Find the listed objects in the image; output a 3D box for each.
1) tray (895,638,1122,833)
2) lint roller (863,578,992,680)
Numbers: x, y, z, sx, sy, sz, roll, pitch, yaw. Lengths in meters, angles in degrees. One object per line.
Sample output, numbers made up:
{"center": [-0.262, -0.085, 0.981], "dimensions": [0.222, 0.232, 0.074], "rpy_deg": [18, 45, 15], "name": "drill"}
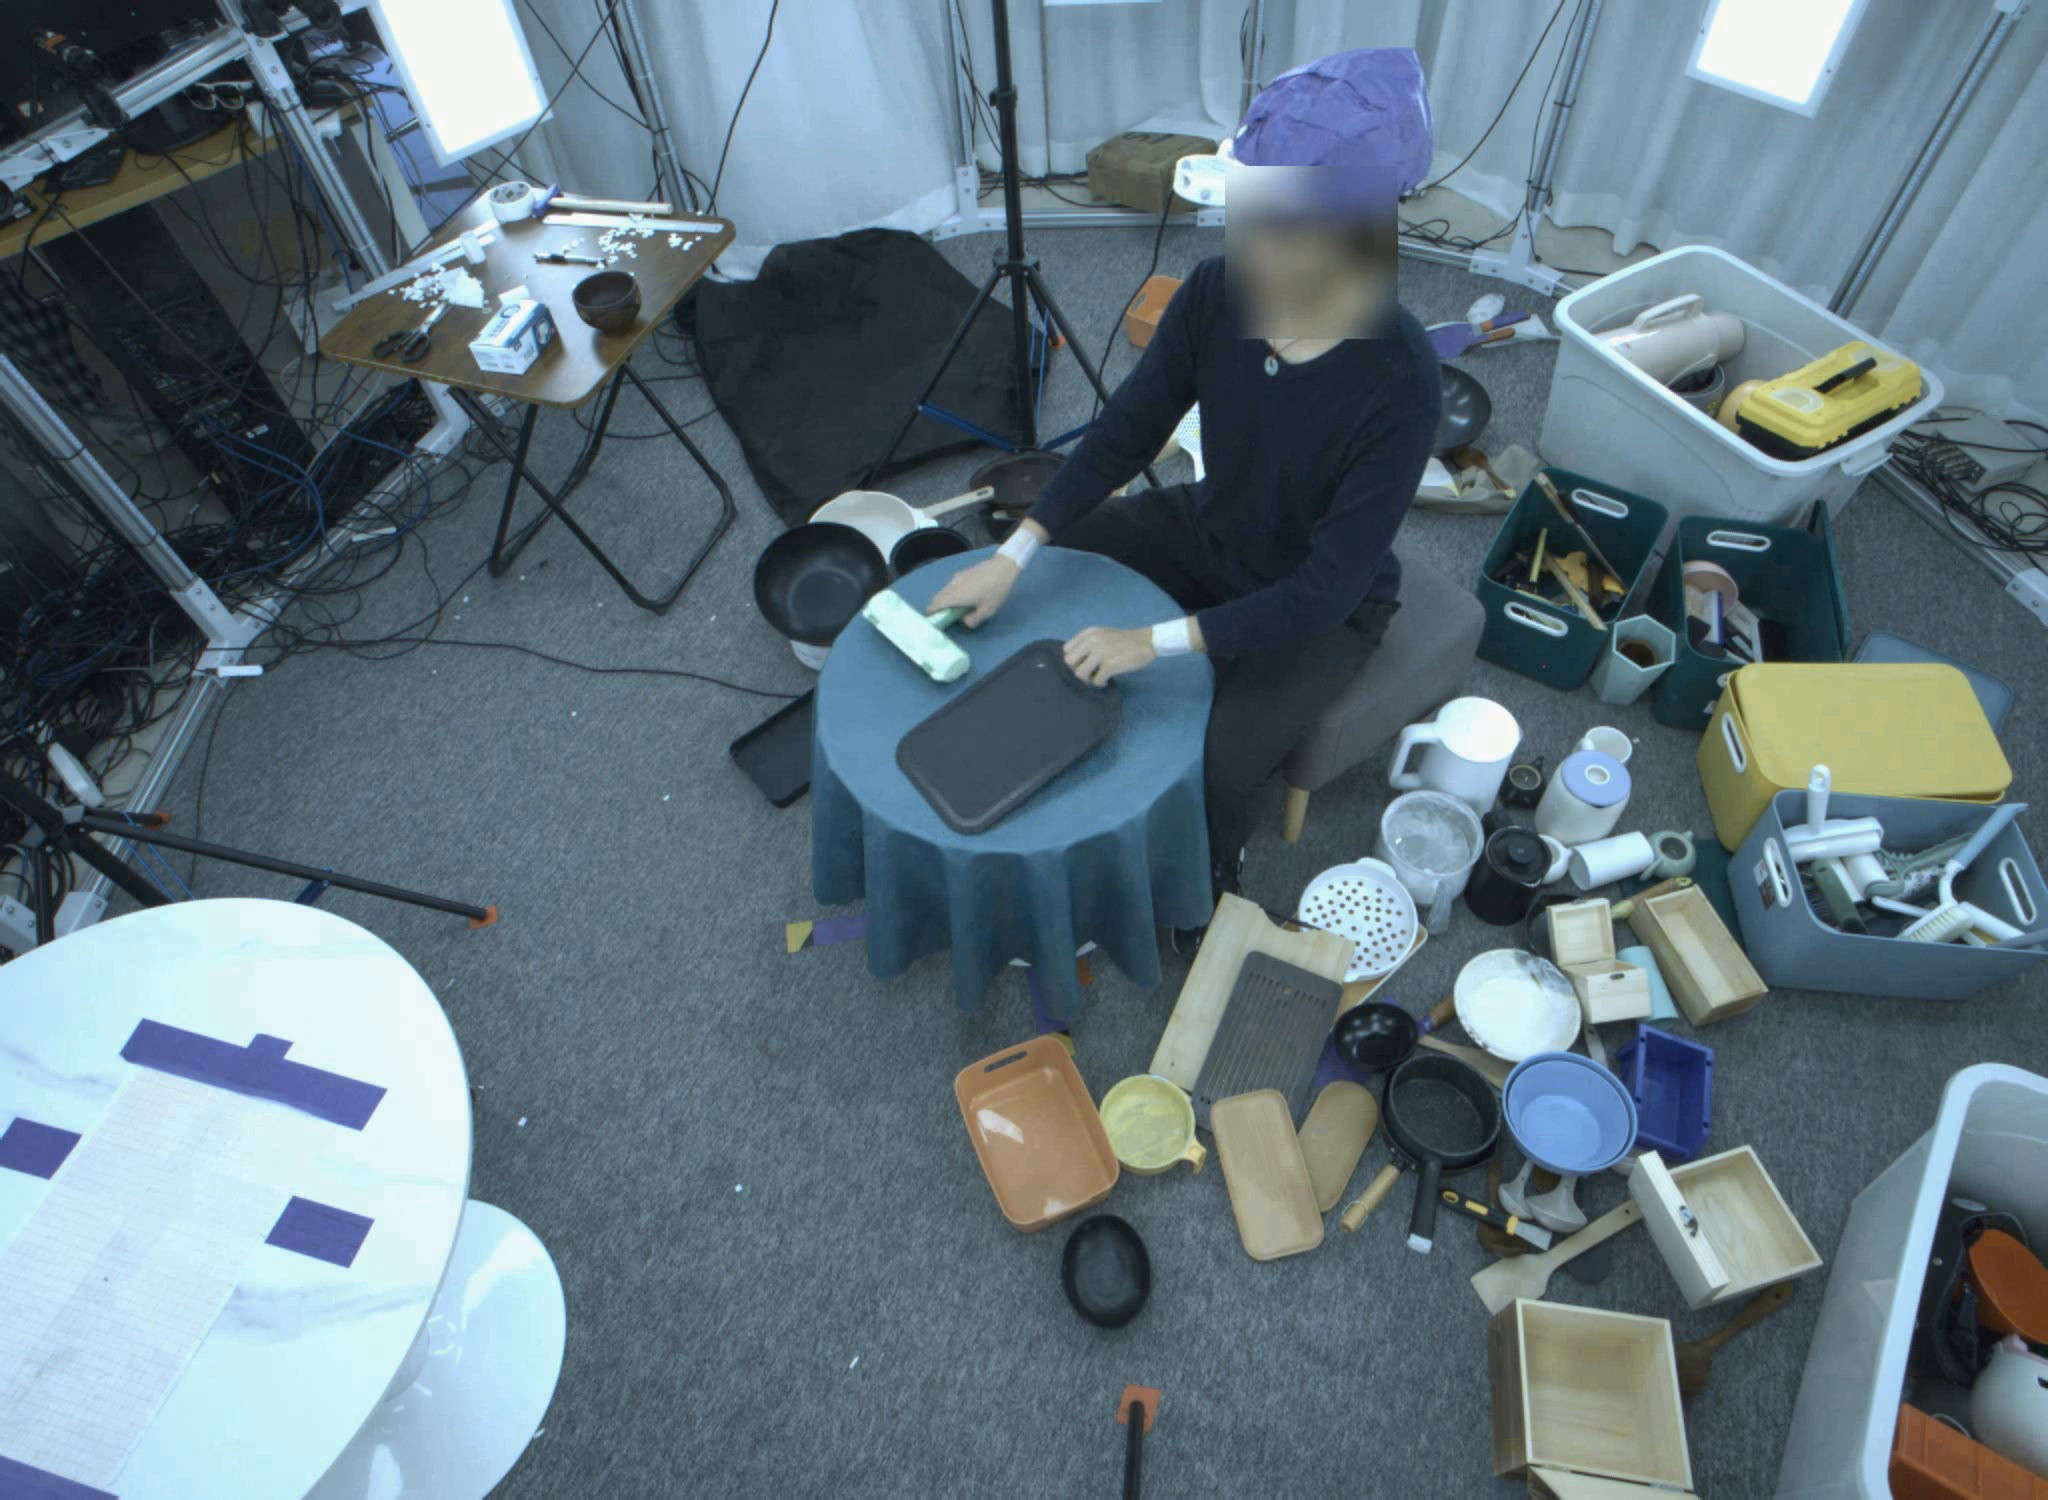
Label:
{"center": [-0.019, -0.033, 1.773], "dimensions": [0.326, 0.010, 0.207], "rpy_deg": [-37, 61, -10], "name": "tray"}
{"center": [-0.126, -0.219, 1.888], "dimensions": [0.184, 0.083, 0.195], "rpy_deg": [-43, 63, -10], "name": "lint roller"}
